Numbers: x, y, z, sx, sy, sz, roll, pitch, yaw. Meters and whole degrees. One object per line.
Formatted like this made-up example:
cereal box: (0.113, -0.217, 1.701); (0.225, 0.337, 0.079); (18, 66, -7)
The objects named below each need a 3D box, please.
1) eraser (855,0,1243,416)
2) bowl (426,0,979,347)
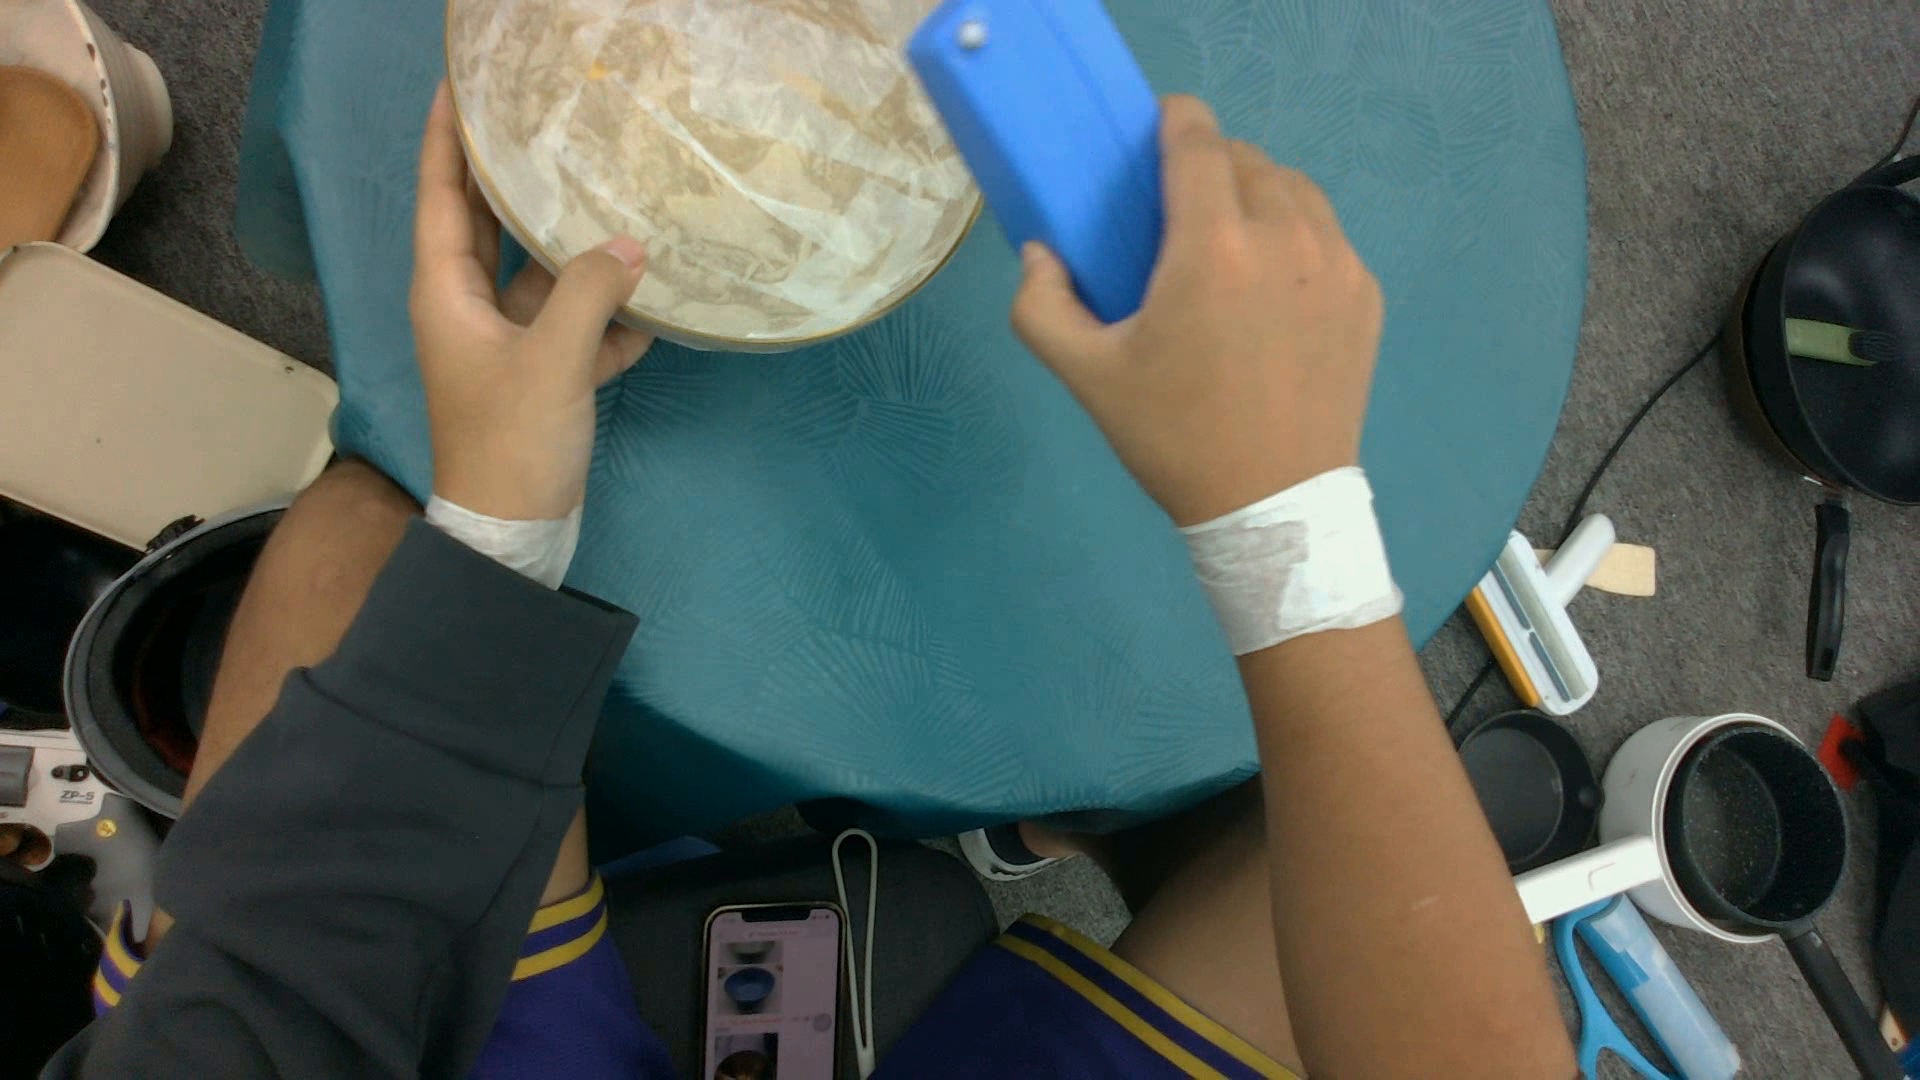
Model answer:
eraser: (0.035, -0.114, 0.457); (0.054, 0.047, 0.162); (-45, 112, -12)
bowl: (-0.098, -0.167, 0.531); (0.215, 0.094, 0.215); (2, 85, -22)
